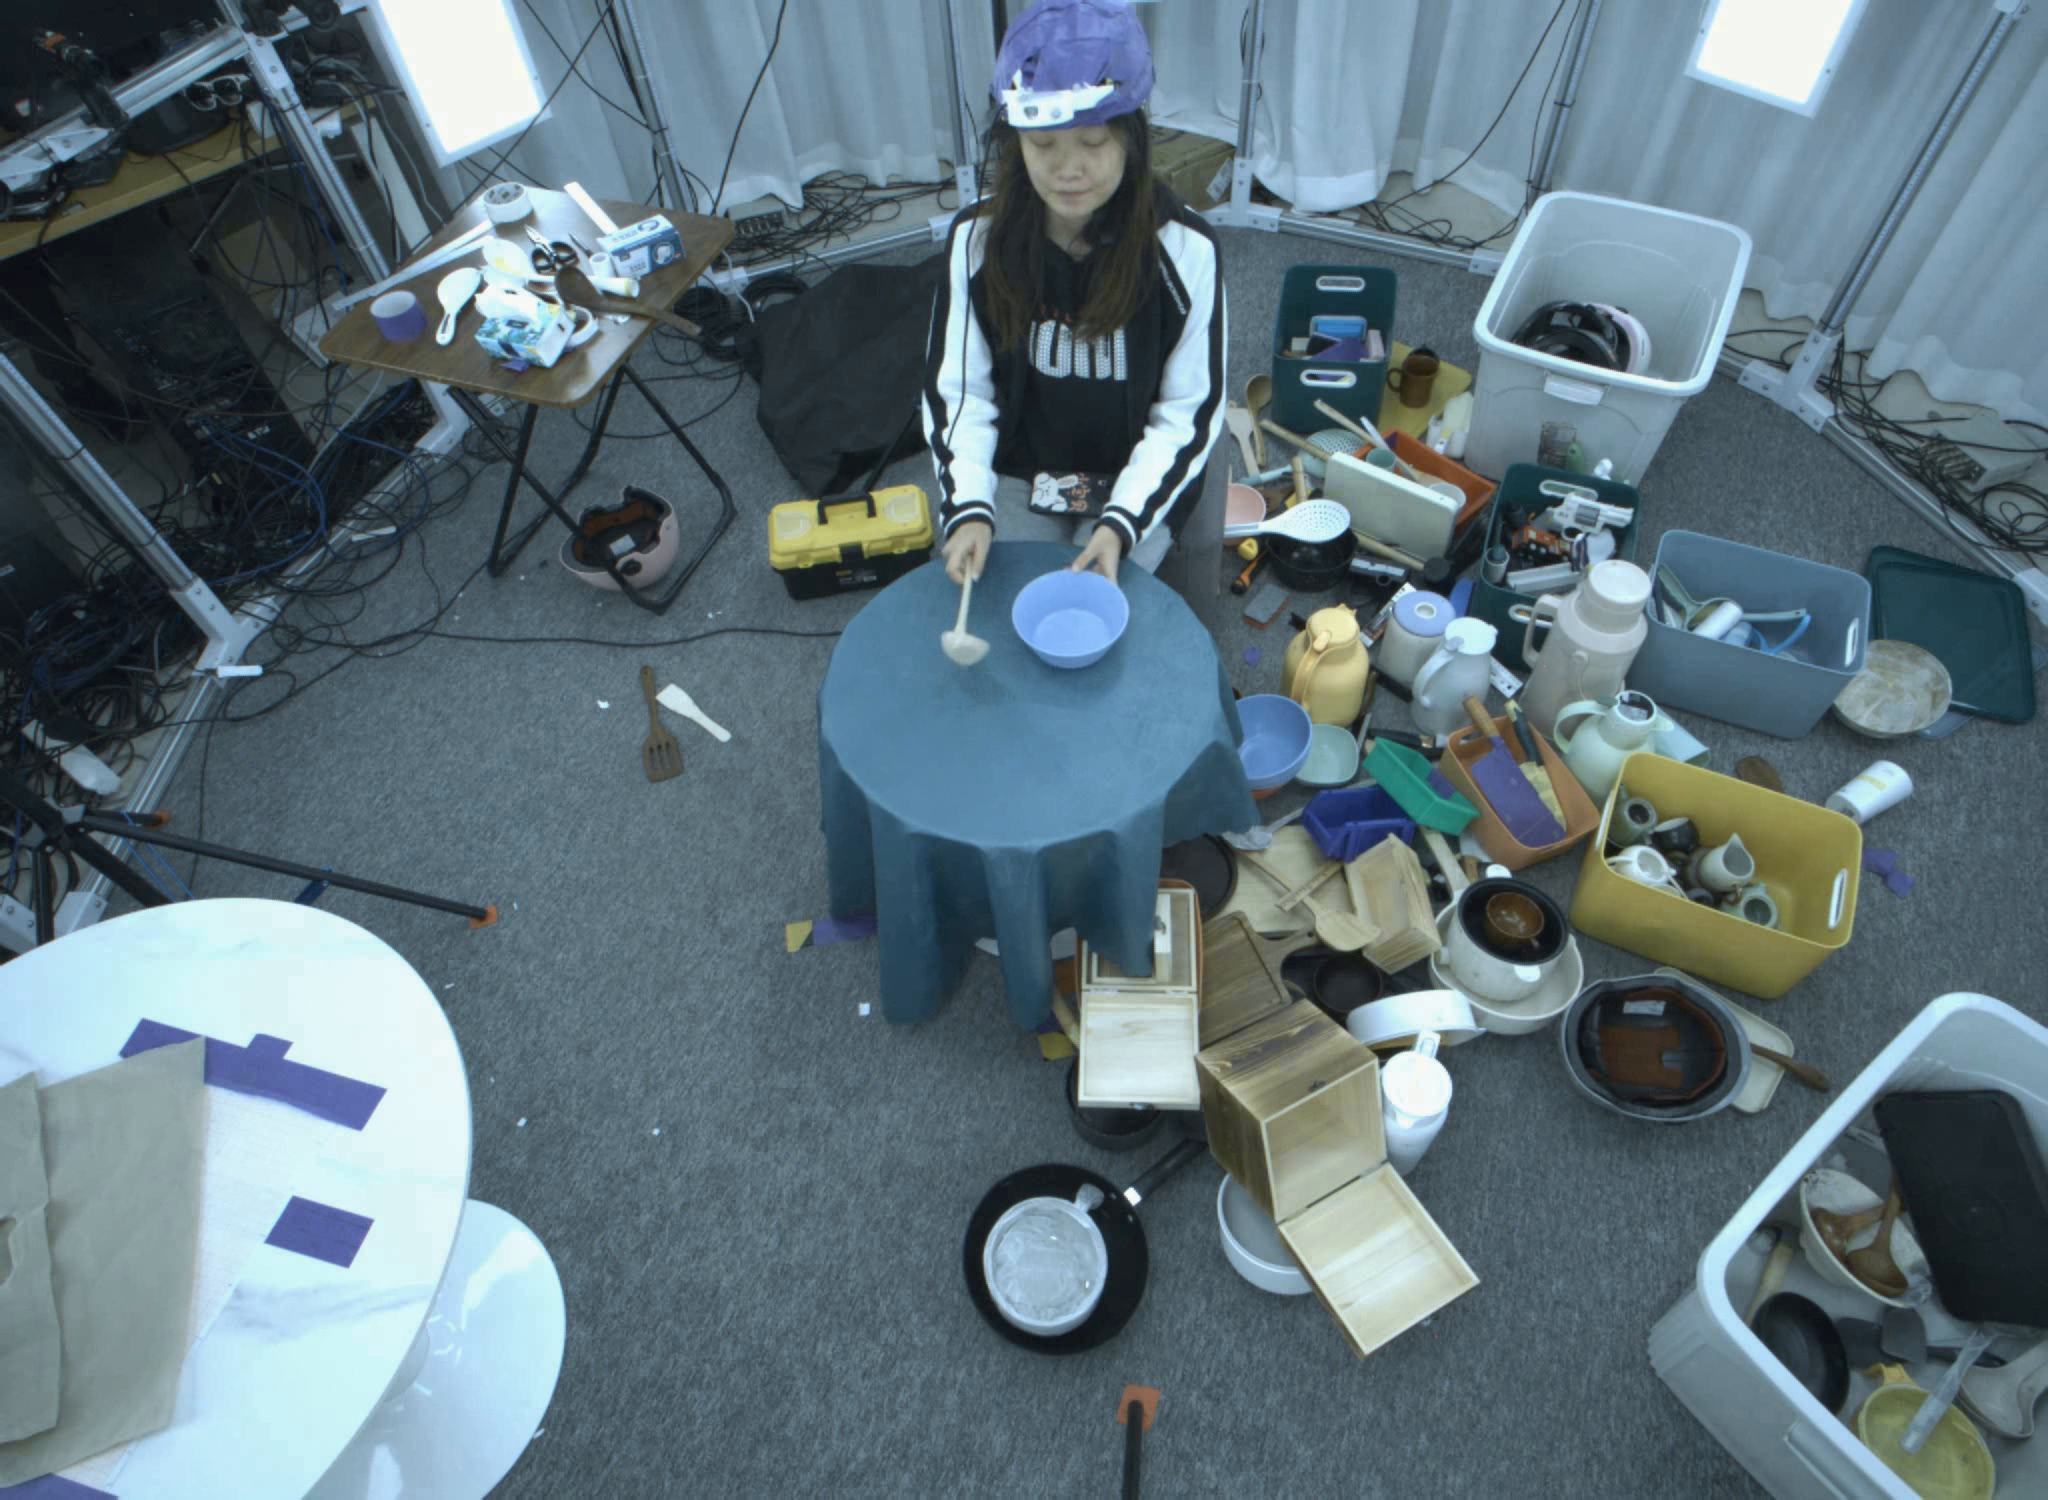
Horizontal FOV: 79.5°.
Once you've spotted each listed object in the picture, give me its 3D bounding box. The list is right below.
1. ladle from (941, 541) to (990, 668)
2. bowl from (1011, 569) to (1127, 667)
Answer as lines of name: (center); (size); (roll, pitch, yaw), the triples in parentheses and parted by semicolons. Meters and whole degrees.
ladle: (-0.083, -0.237, 1.844); (0.073, 0.072, 0.252); (15, 58, -22)
bowl: (0.069, -0.192, 1.878); (0.176, 0.071, 0.174); (0, 55, 1)
